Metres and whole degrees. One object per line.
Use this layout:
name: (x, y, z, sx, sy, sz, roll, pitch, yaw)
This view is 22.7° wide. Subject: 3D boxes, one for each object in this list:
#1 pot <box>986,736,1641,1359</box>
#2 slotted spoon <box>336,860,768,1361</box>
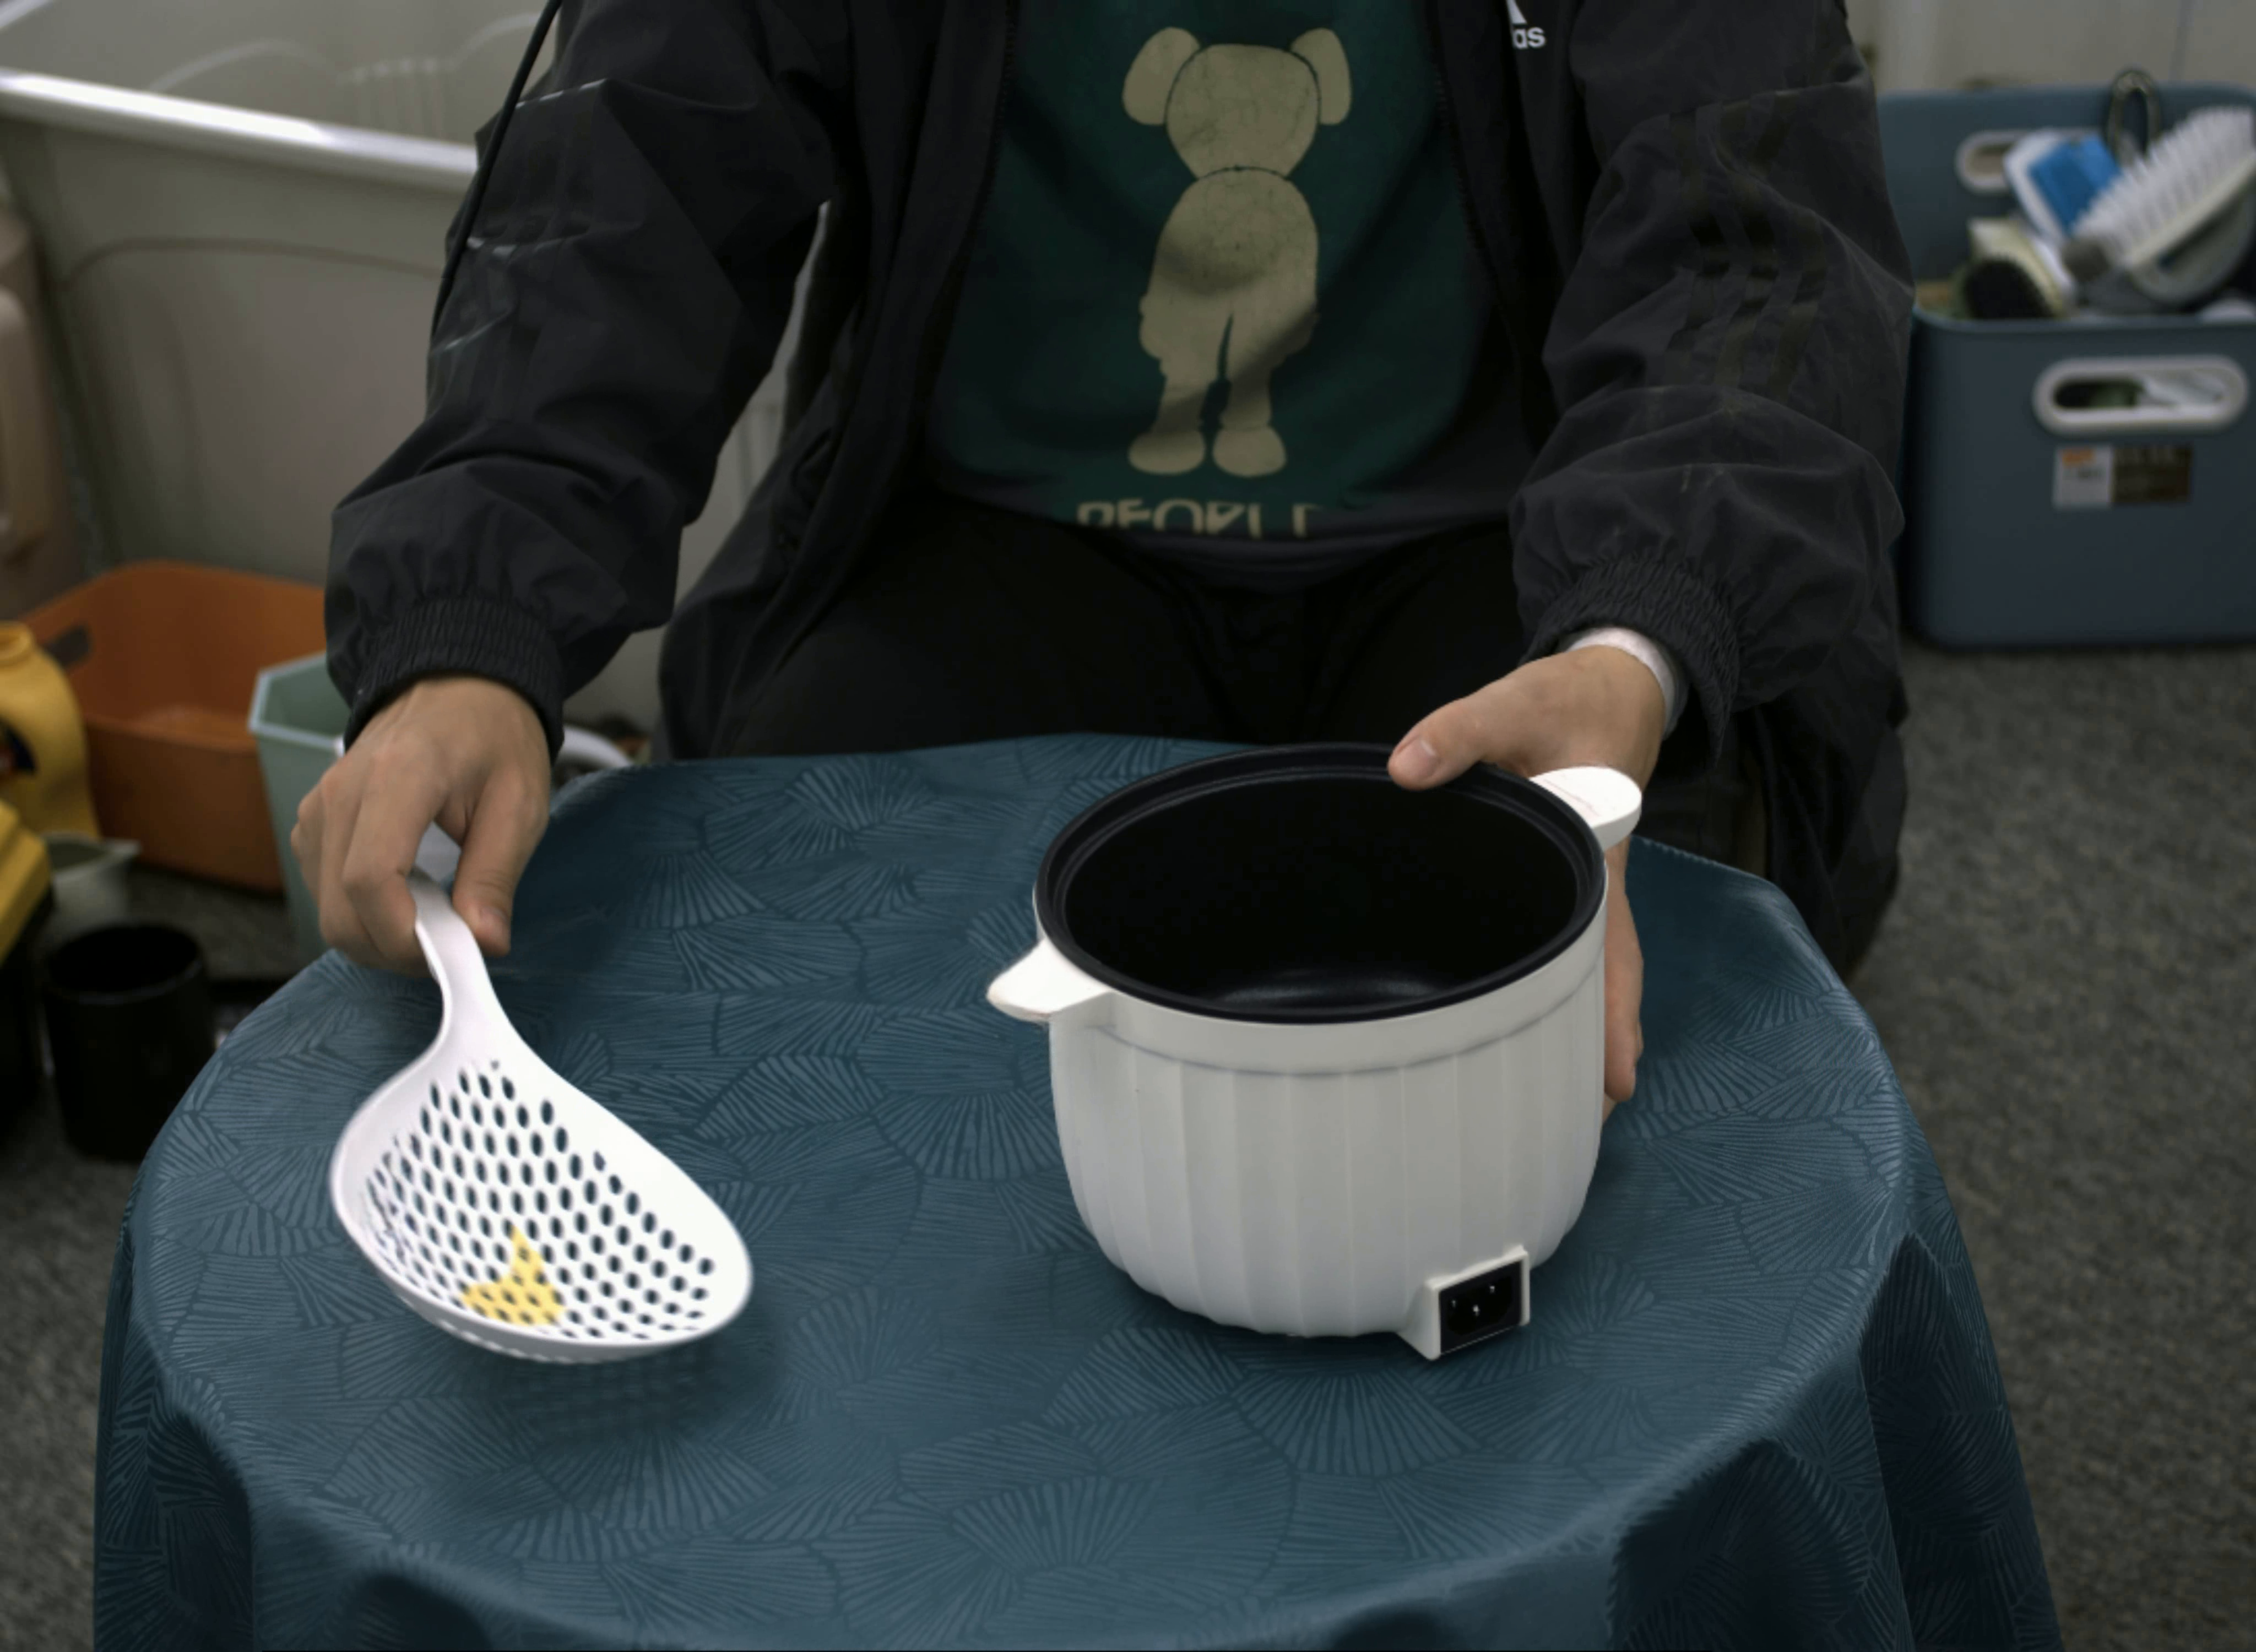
pot: (0.059, 0.071, 1.802, 0.242, 0.141, 0.191, -17, 33, -27)
slotted spoon: (-0.216, 0.084, 1.863, 0.137, 0.050, 0.352, 6, 28, -22)
